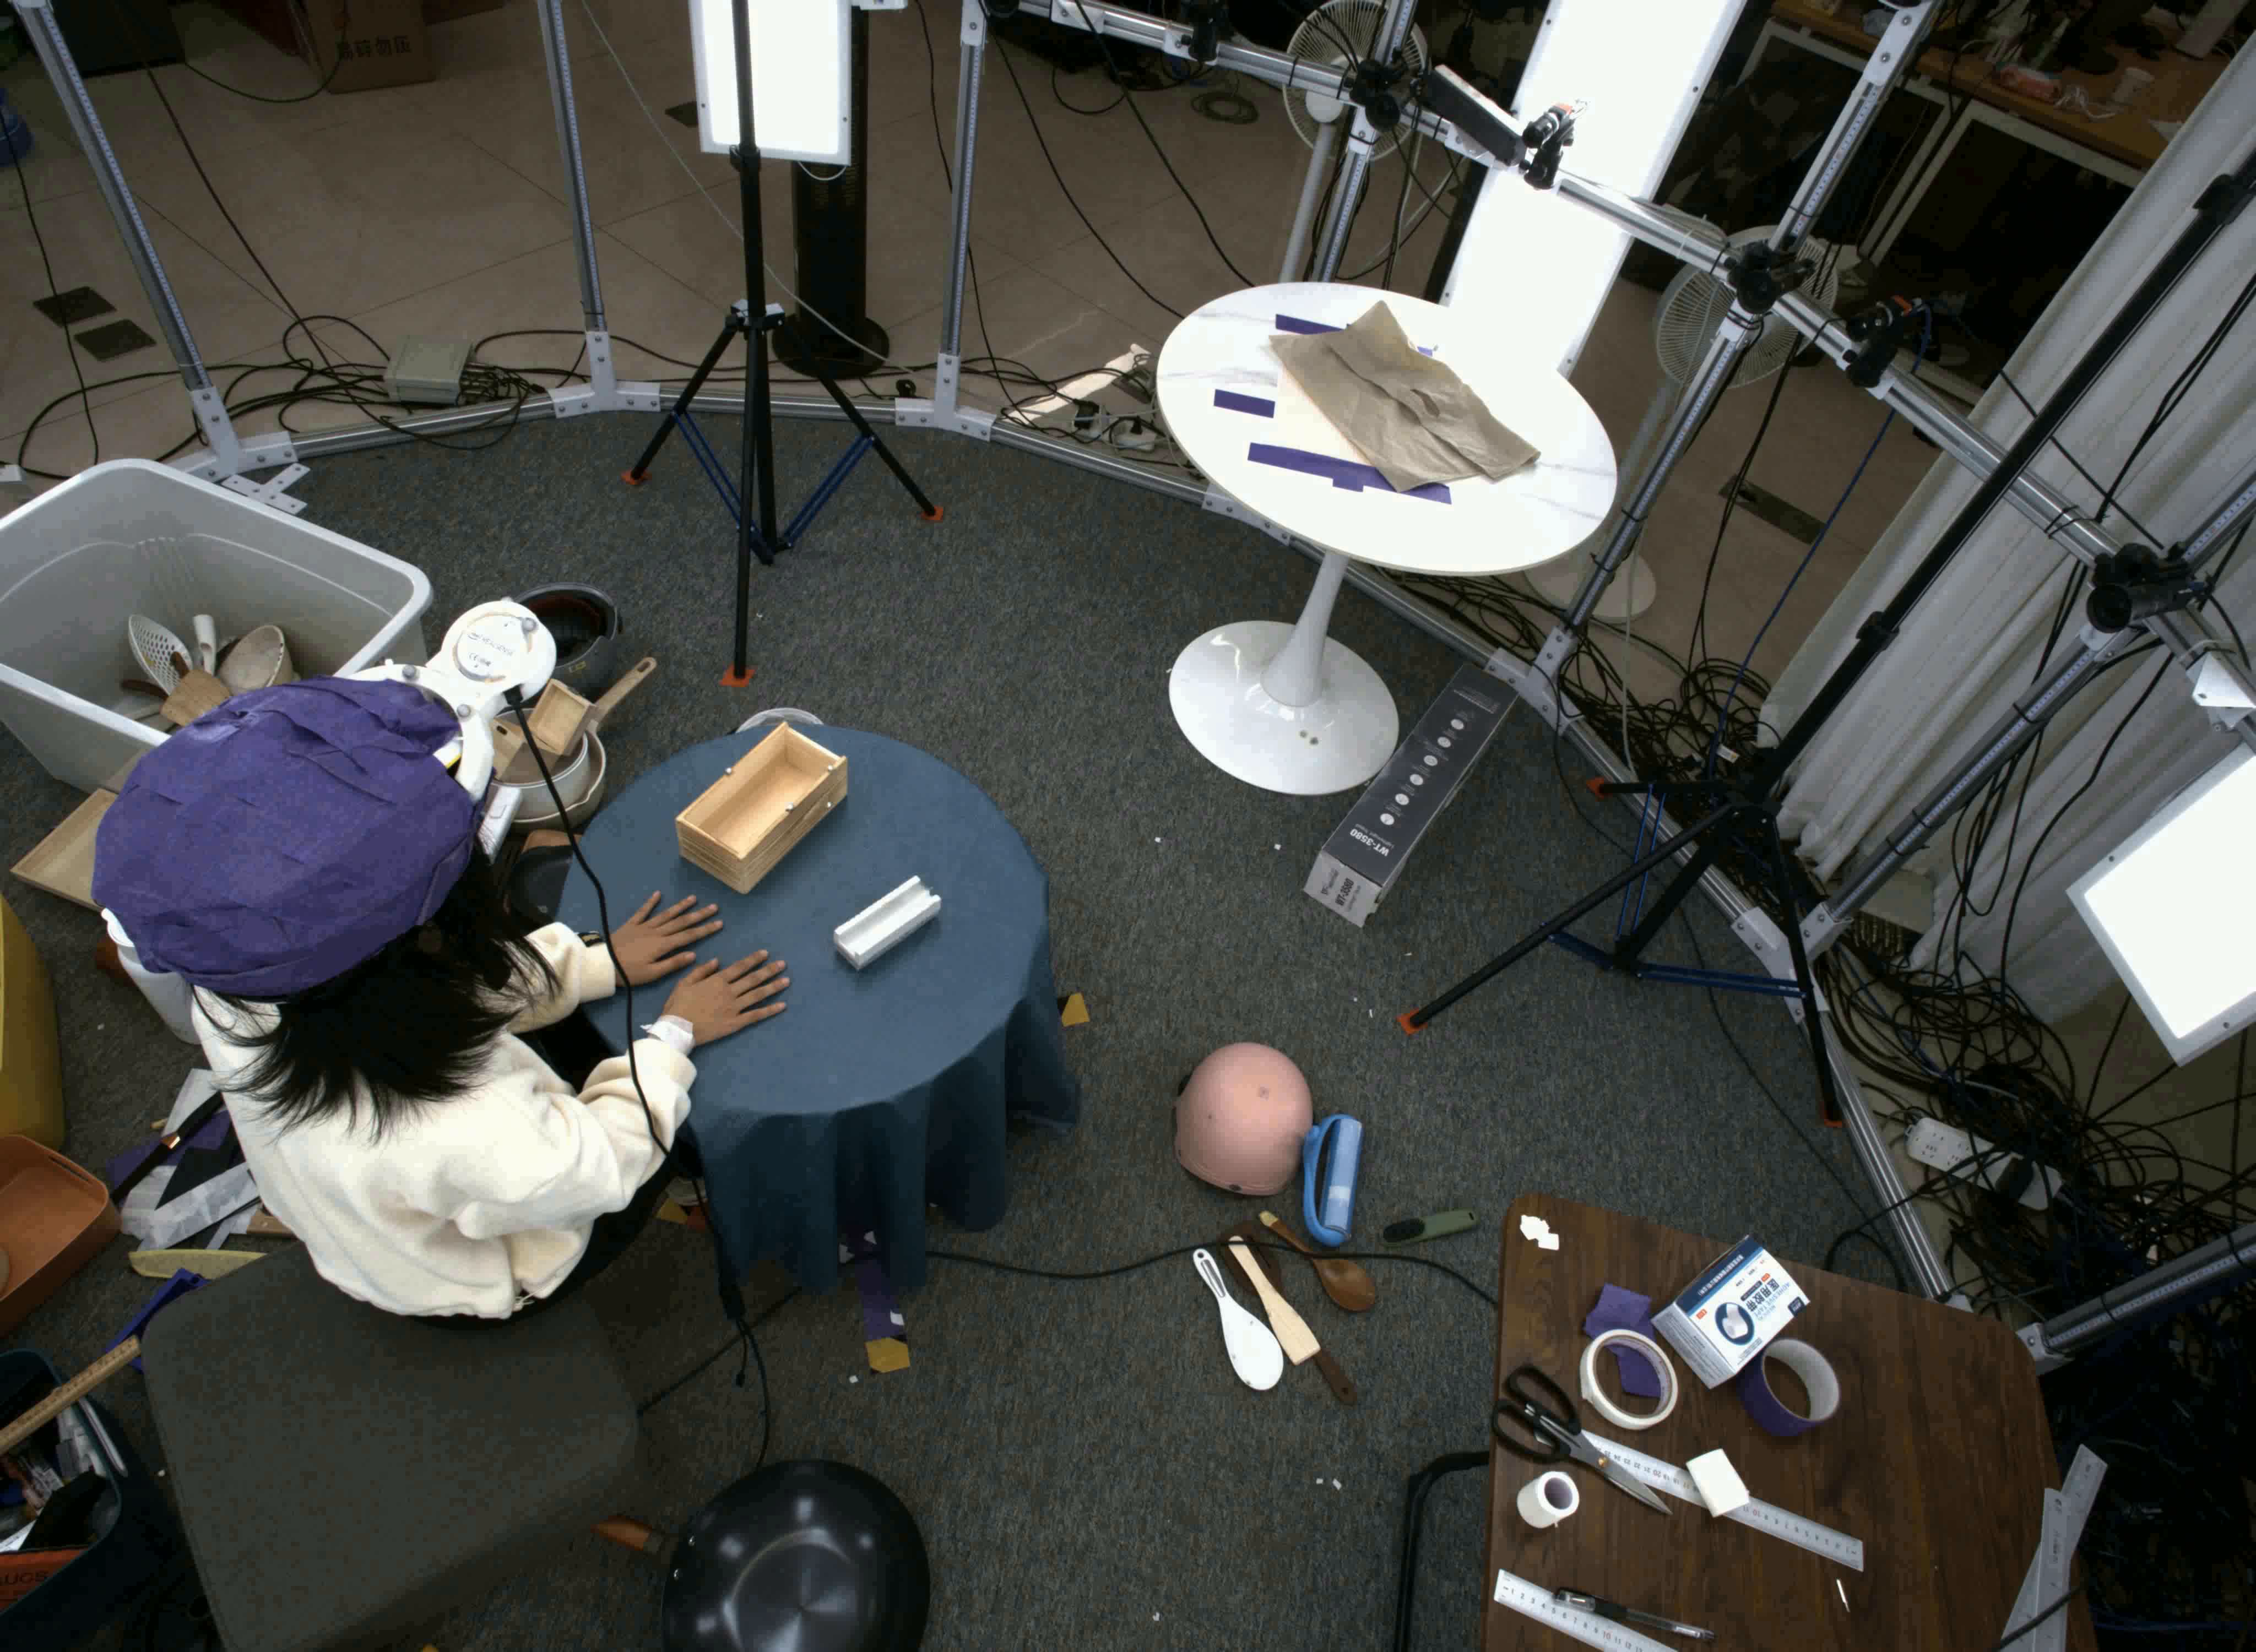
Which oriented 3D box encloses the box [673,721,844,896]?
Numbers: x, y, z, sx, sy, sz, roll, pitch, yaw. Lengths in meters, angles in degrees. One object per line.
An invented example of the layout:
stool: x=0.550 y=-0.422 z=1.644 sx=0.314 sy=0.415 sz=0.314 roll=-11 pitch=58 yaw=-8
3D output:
box: x=-0.474 y=-0.026 z=1.674 sx=0.106 sy=0.082 sz=0.210 roll=29 pitch=51 yaw=10

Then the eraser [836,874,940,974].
eraser: x=-0.301 y=0.121 z=1.631 sx=0.049 sy=0.047 sz=0.134 roll=39 pitch=53 yaw=15
